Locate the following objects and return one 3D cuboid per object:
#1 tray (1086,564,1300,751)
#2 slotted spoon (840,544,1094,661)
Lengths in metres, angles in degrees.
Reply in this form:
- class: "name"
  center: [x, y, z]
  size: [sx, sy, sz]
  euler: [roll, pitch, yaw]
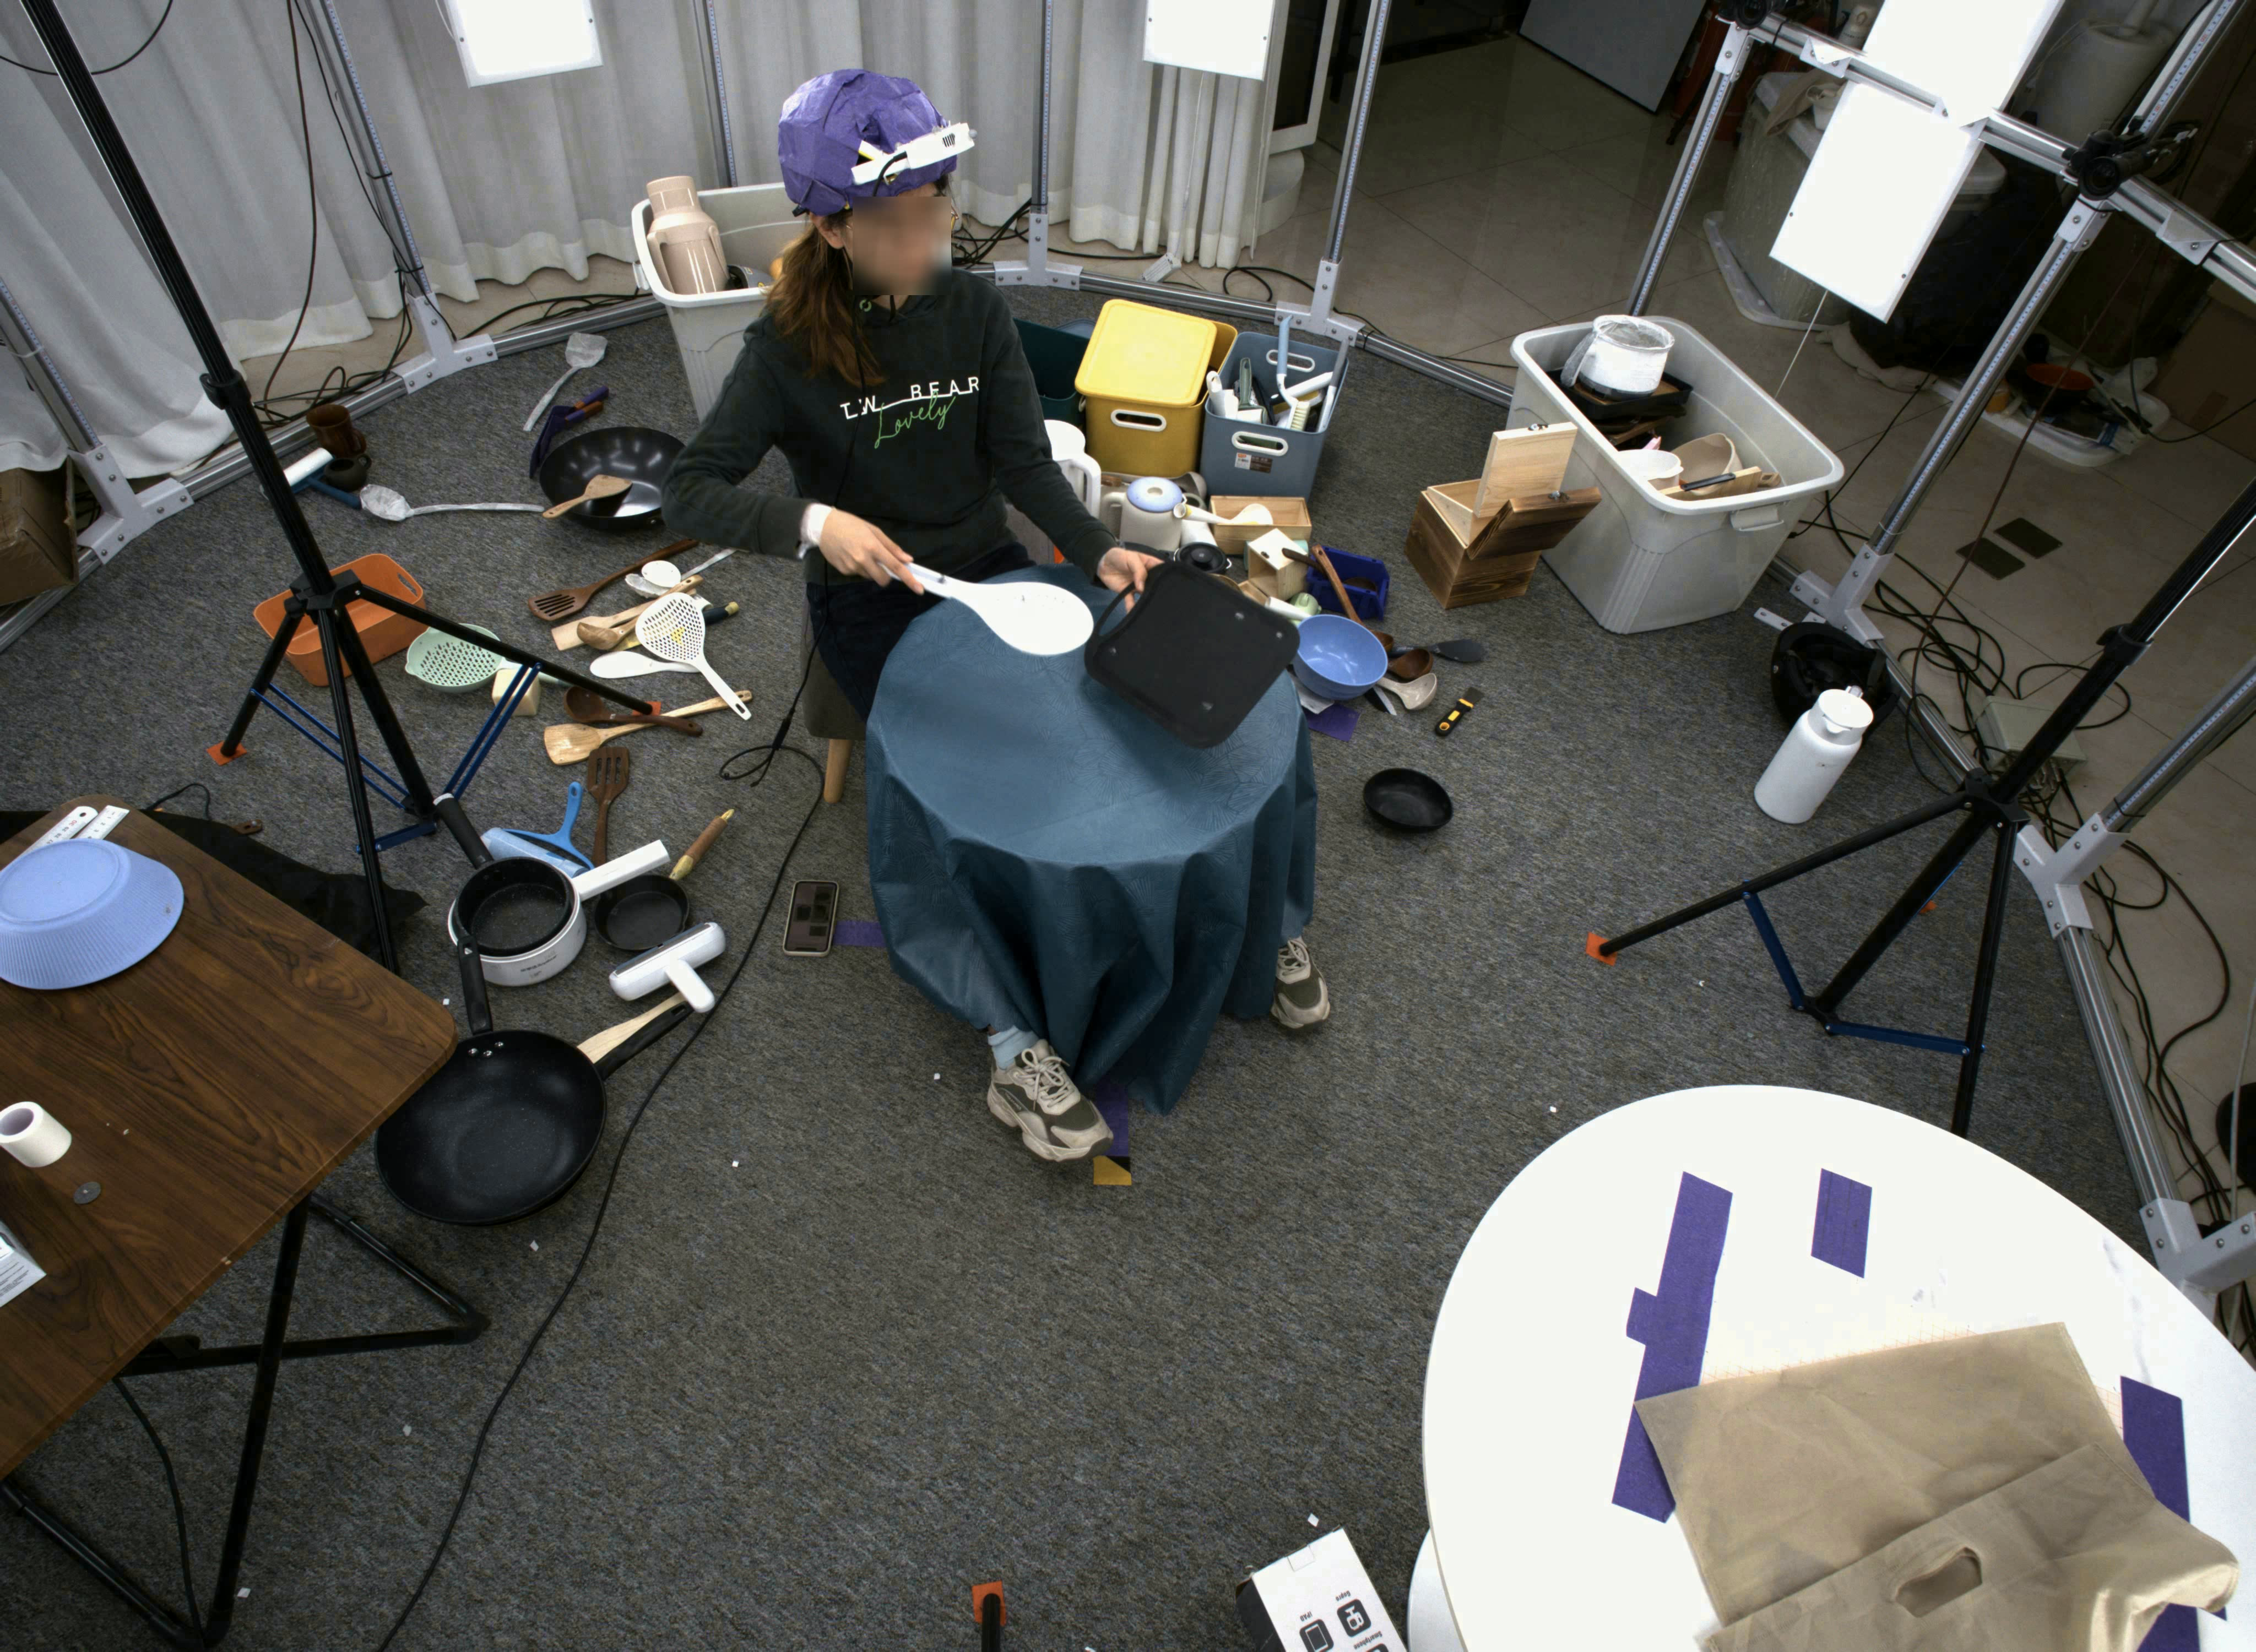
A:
- class: "tray"
  center: [0.075, -0.240, 1.755]
  size: [0.211, 0.009, 0.331]
  euler: [-49, 49, -2]
- class: "slotted spoon"
  center: [-0.212, -0.297, 1.678]
  size: [0.350, 0.045, 0.139]
  euler: [25, 45, 5]
